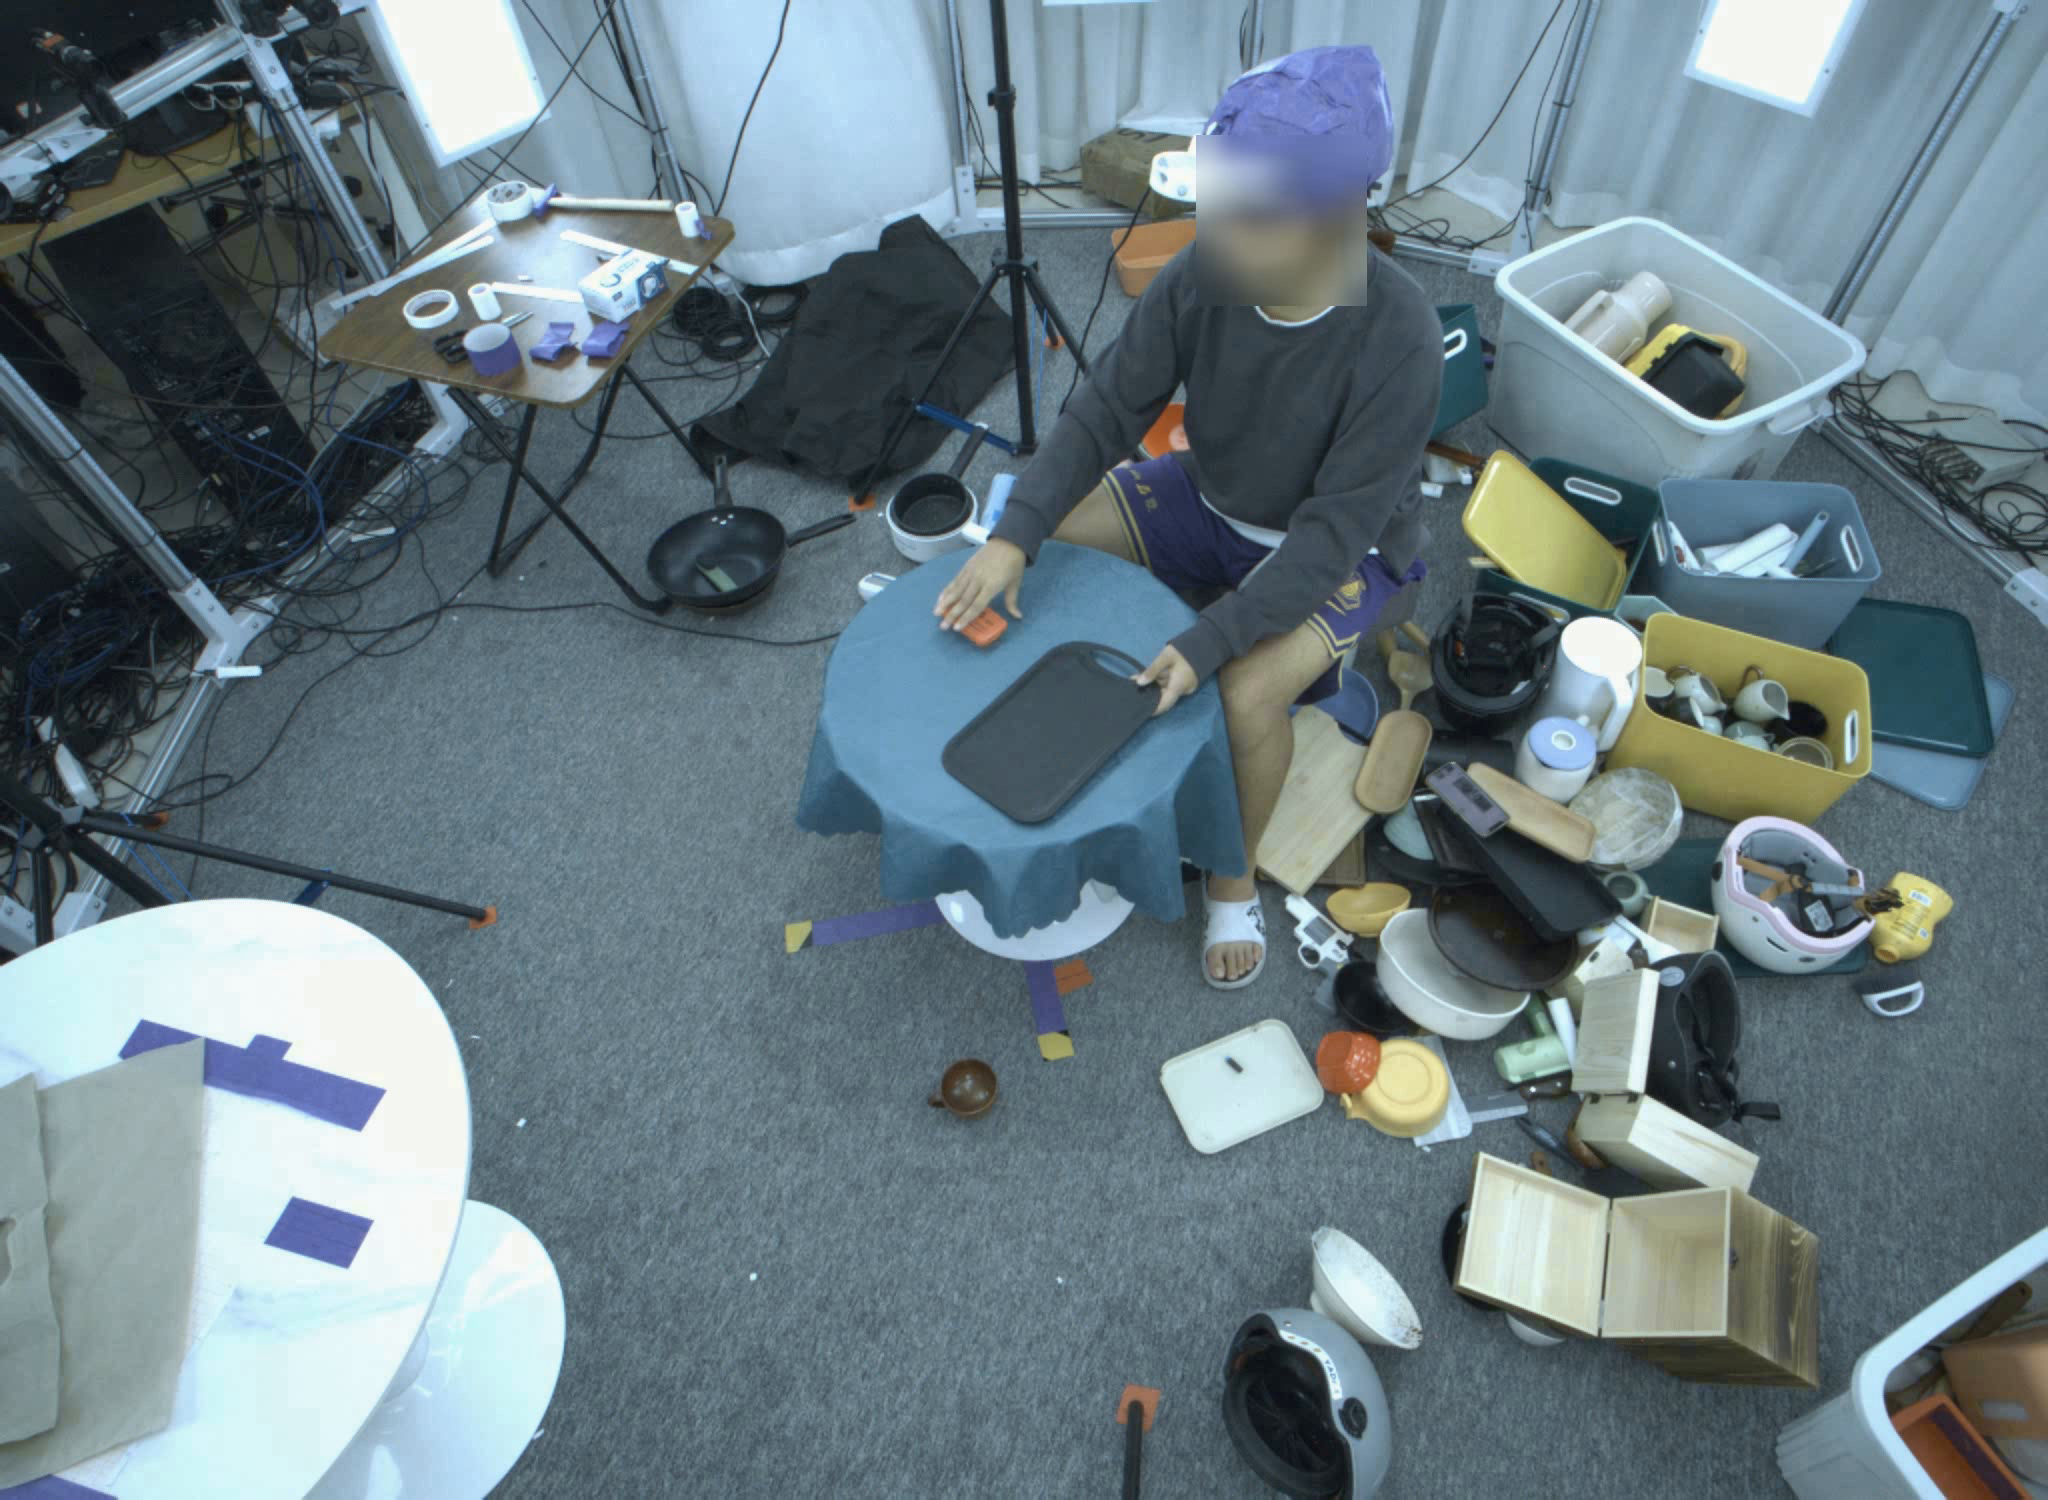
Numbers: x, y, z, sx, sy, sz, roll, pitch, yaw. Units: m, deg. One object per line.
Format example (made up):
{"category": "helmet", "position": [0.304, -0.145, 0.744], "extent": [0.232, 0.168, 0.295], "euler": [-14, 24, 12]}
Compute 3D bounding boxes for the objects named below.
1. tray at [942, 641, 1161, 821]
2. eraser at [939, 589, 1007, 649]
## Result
{"category": "tray", "position": [0.046, -0.041, 1.802], "extent": [0.207, 0.010, 0.327], "euler": [34, 64, 28]}
{"category": "eraser", "position": [-0.080, -0.206, 1.921], "extent": [0.059, 0.023, 0.106], "euler": [-39, 64, -22]}
